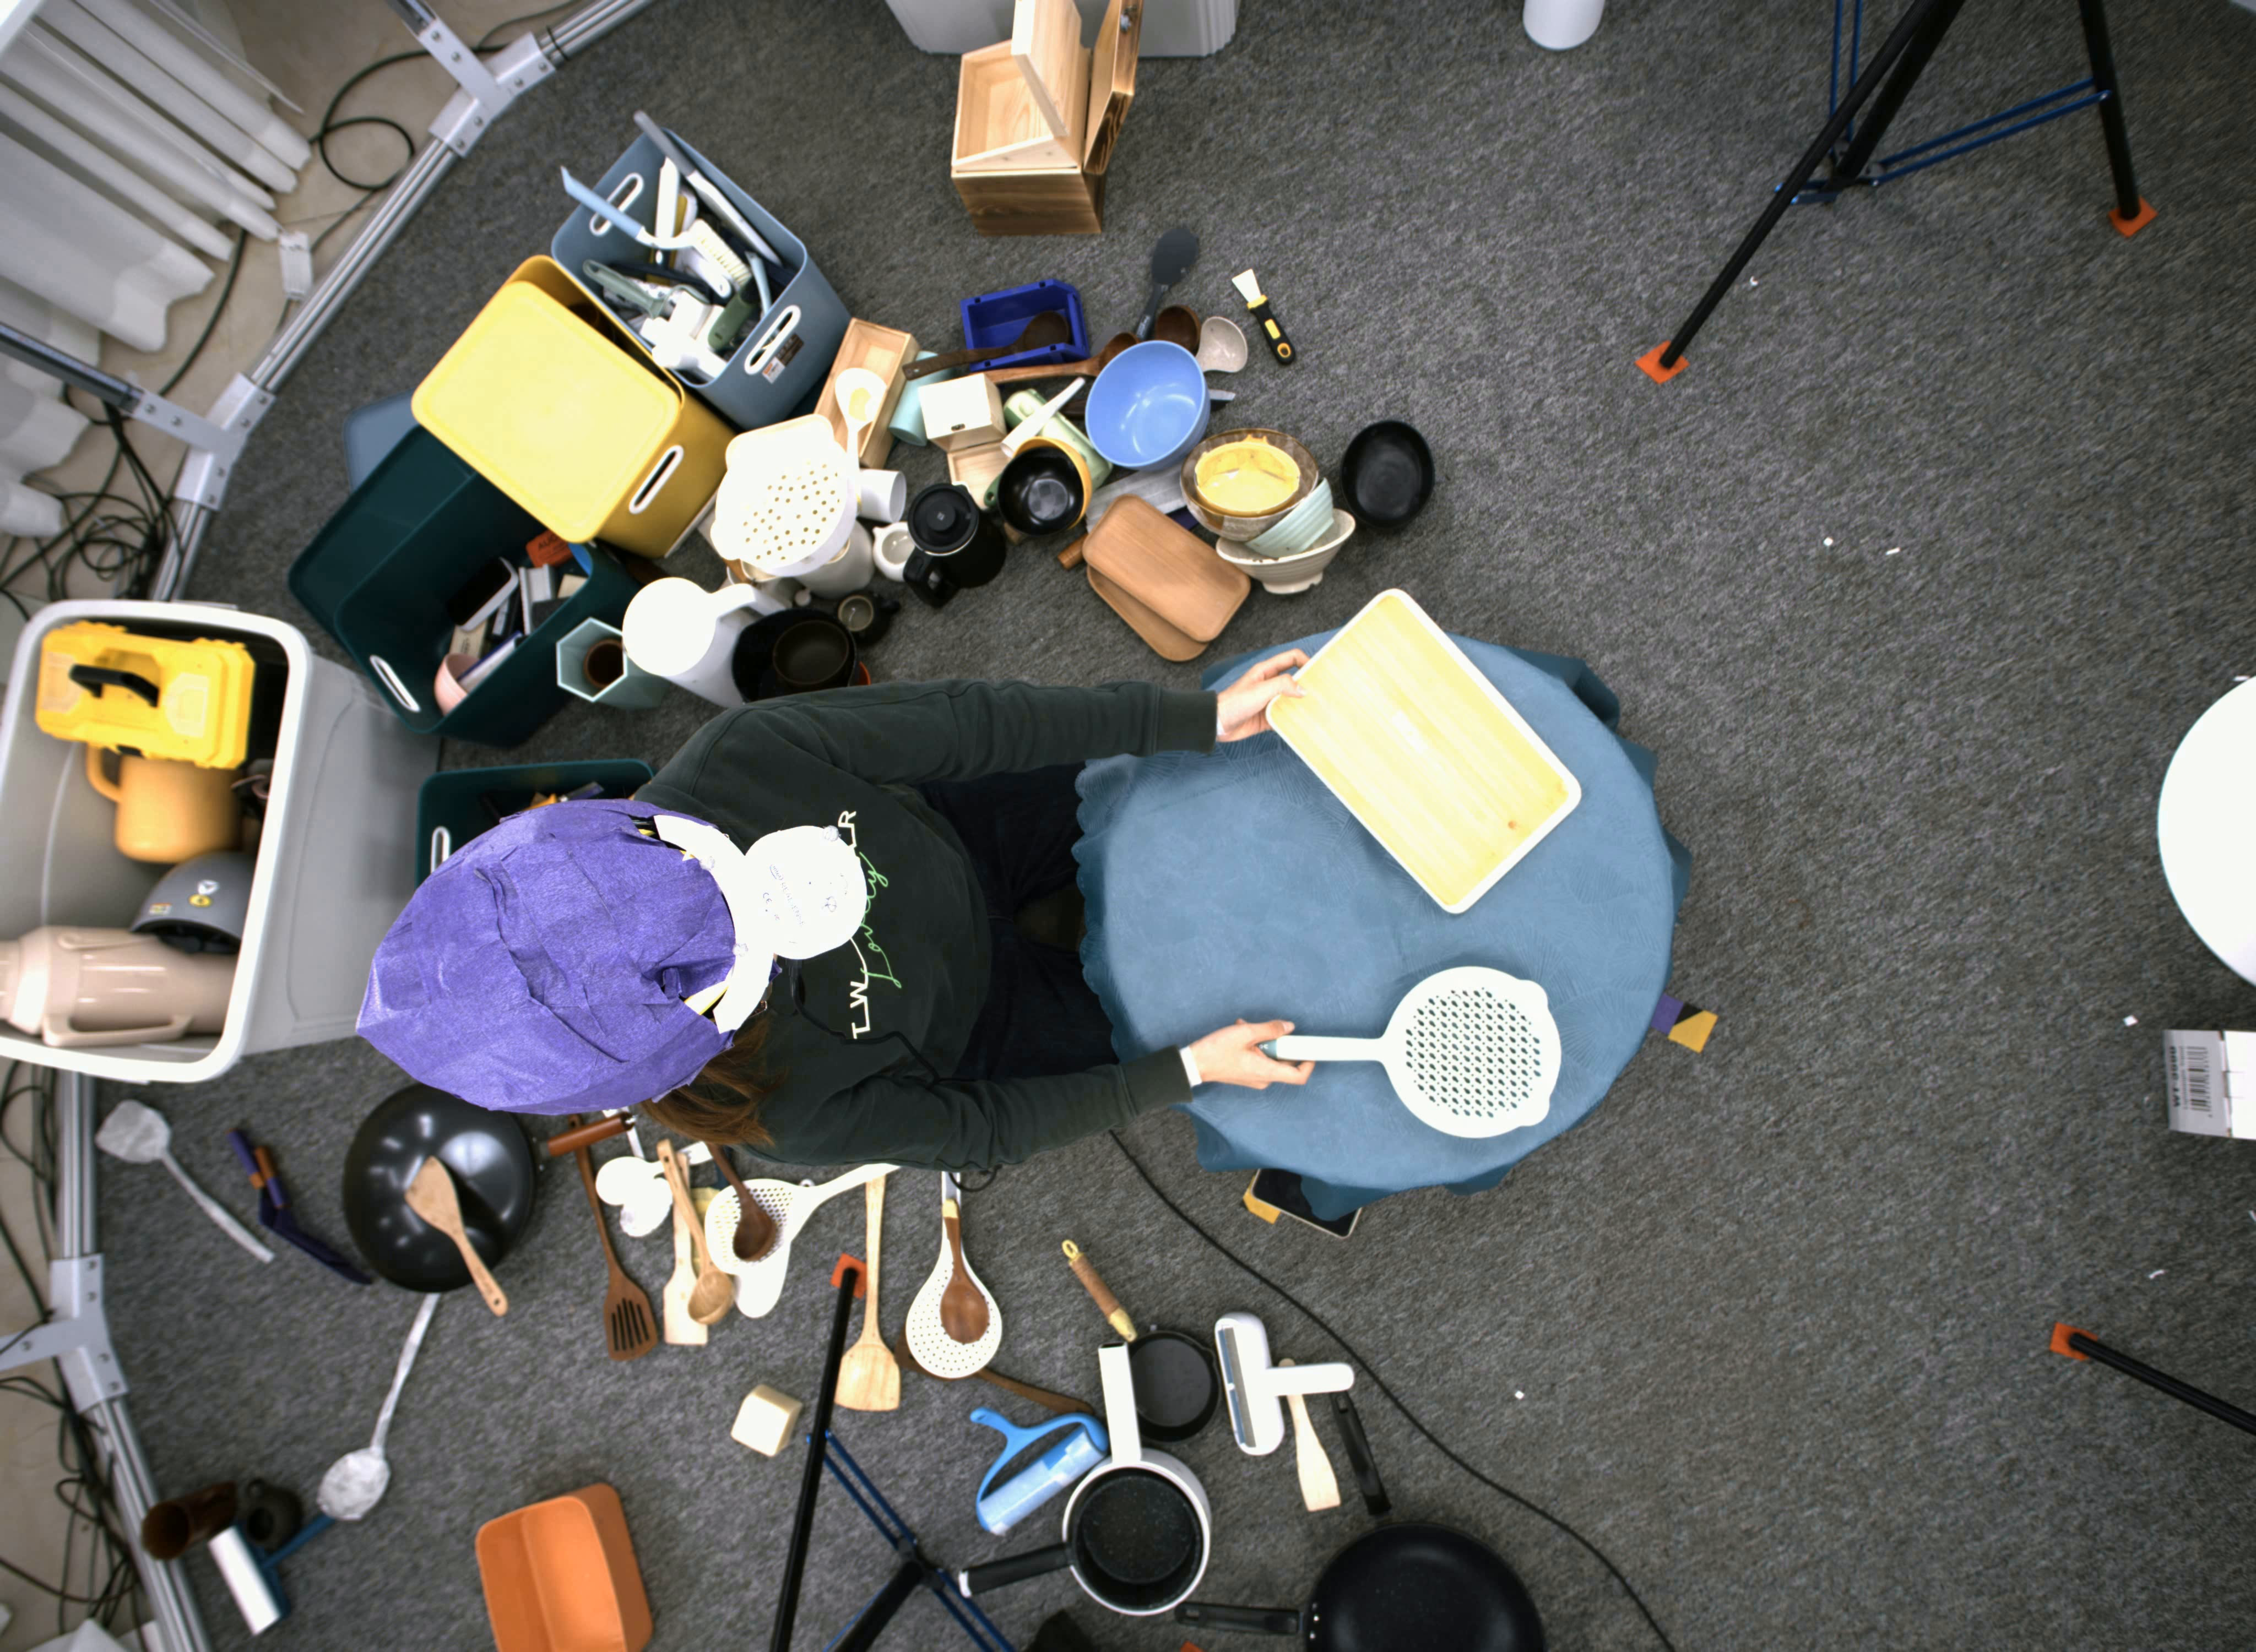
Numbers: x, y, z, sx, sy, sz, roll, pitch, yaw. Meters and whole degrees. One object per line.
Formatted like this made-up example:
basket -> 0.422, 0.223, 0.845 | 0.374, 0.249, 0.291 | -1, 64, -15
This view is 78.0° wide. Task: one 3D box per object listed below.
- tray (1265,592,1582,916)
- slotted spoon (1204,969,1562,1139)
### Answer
tray -> 0.304, -0.074, 1.411 | 0.192, 0.027, 0.301 | -43, 97, 5
slotted spoon -> 0.255, 0.229, 1.418 | 0.360, 0.076, 0.167 | 1, 80, 8
